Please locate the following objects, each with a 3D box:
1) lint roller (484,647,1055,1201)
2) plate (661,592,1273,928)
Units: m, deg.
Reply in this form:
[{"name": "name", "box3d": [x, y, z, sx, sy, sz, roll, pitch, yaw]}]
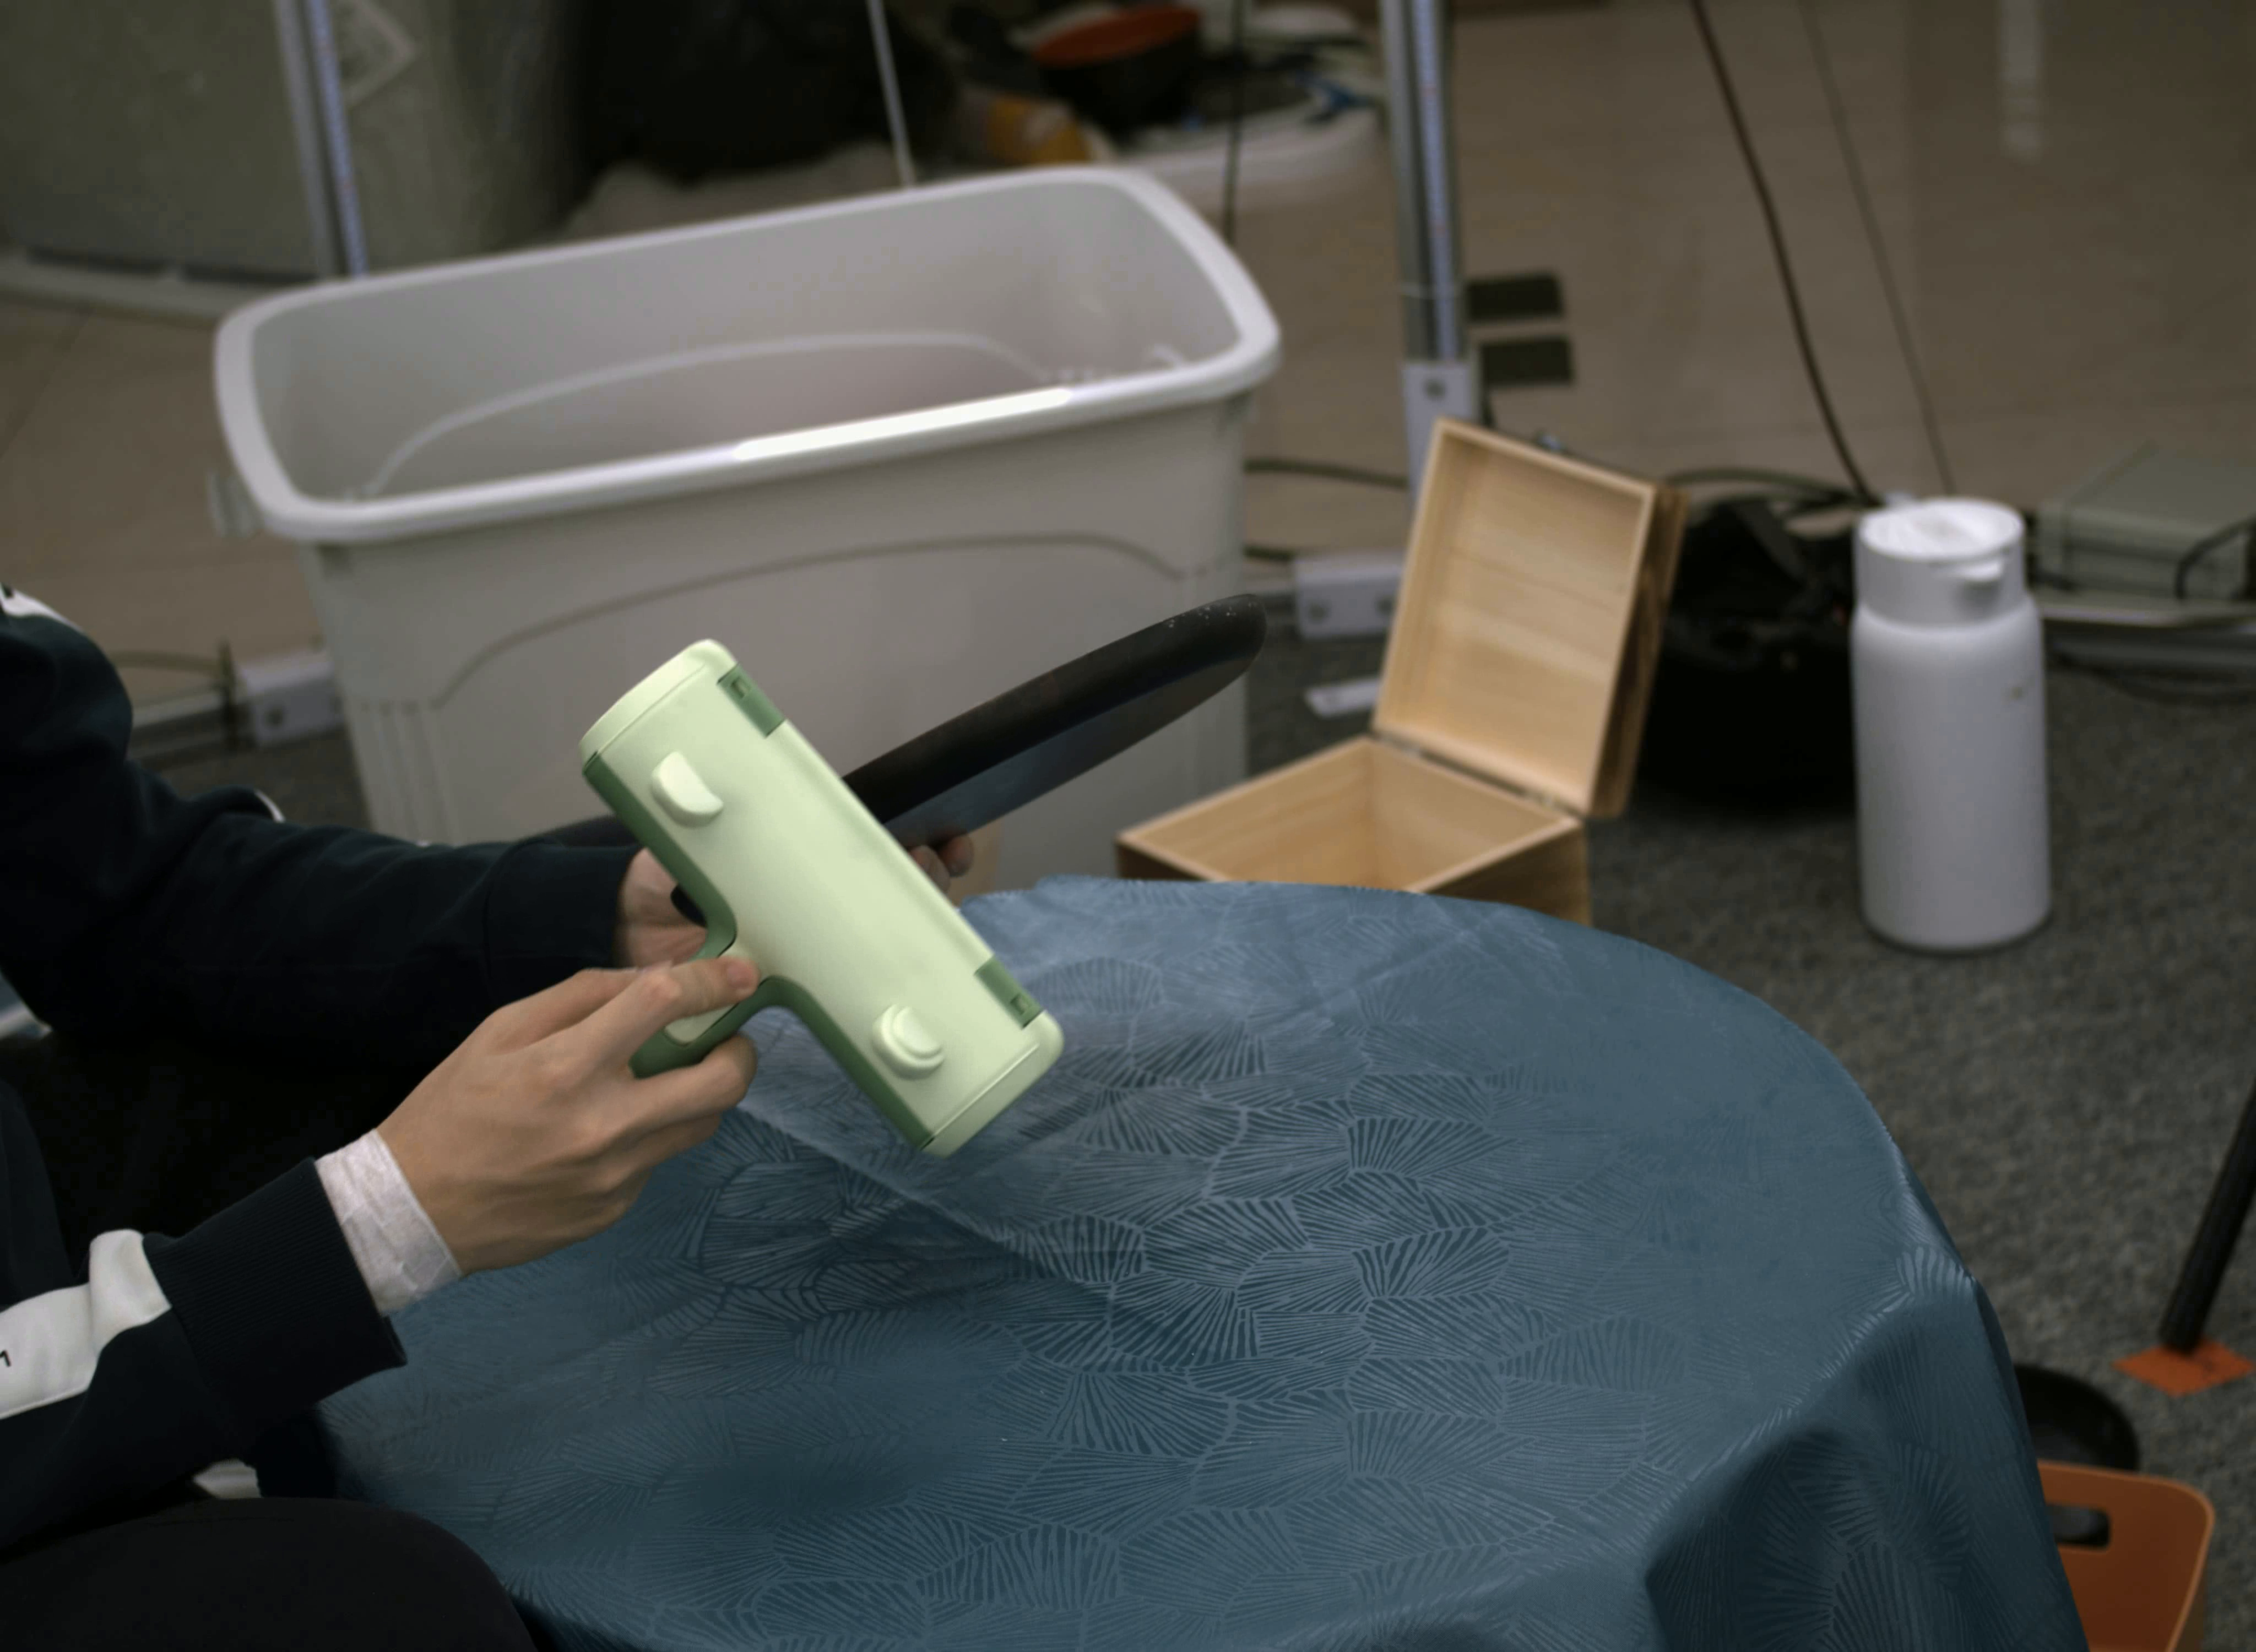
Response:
[{"name": "lint roller", "box3d": [-0.154, 0.066, 1.969, 0.183, 0.198, 0.082, -41, 0, -4]}, {"name": "plate", "box3d": [-0.056, -0.022, 2.145, 0.254, 0.029, 0.255, -26, -3, -1]}]
